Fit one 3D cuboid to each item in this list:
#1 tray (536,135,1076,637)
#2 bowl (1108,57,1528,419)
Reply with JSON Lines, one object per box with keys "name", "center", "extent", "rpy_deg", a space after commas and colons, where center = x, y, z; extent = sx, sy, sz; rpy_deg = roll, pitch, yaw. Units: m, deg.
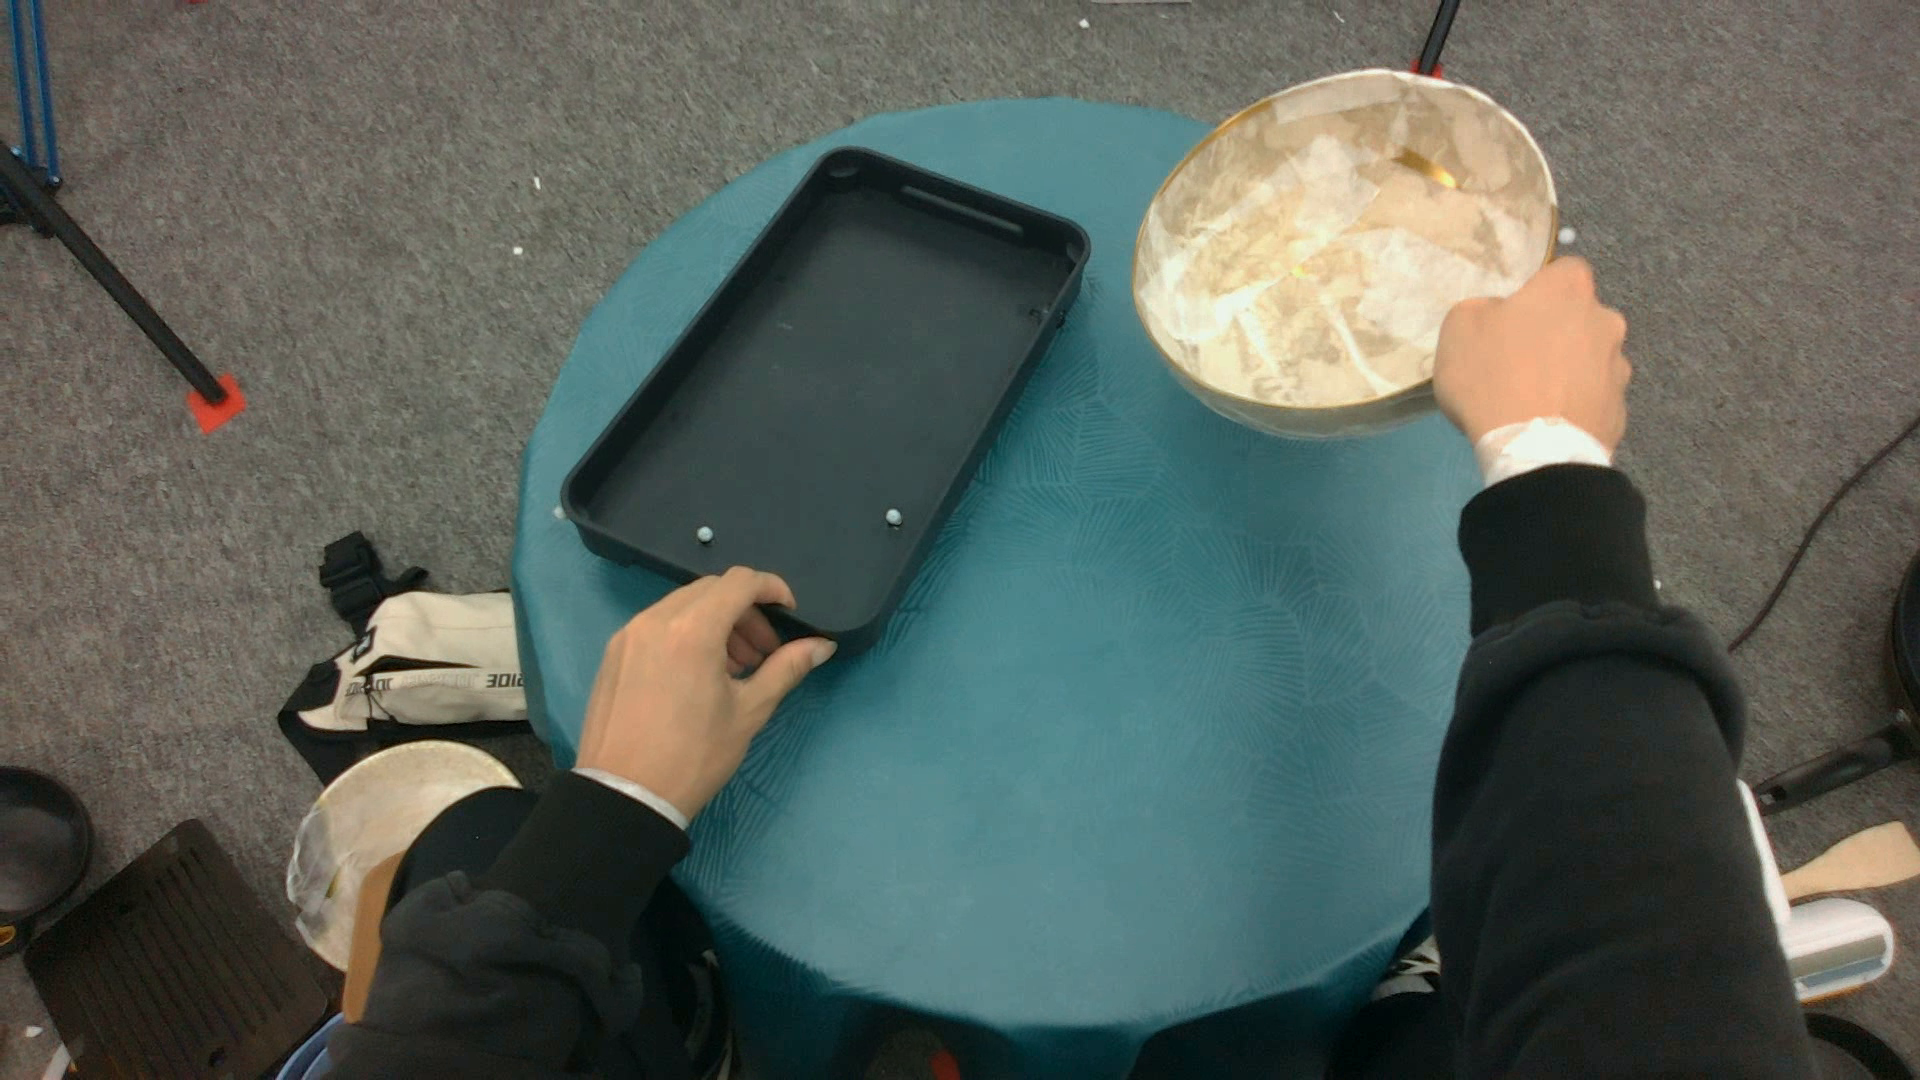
{"name": "tray", "center": [-0.075, -0.102, 0.780], "extent": [0.184, 0.037, 0.319], "rpy_deg": [23, 57, 13]}
{"name": "bowl", "center": [0.181, -0.140, 0.715], "extent": [0.214, 0.094, 0.215], "rpy_deg": [-8, 62, 15]}
